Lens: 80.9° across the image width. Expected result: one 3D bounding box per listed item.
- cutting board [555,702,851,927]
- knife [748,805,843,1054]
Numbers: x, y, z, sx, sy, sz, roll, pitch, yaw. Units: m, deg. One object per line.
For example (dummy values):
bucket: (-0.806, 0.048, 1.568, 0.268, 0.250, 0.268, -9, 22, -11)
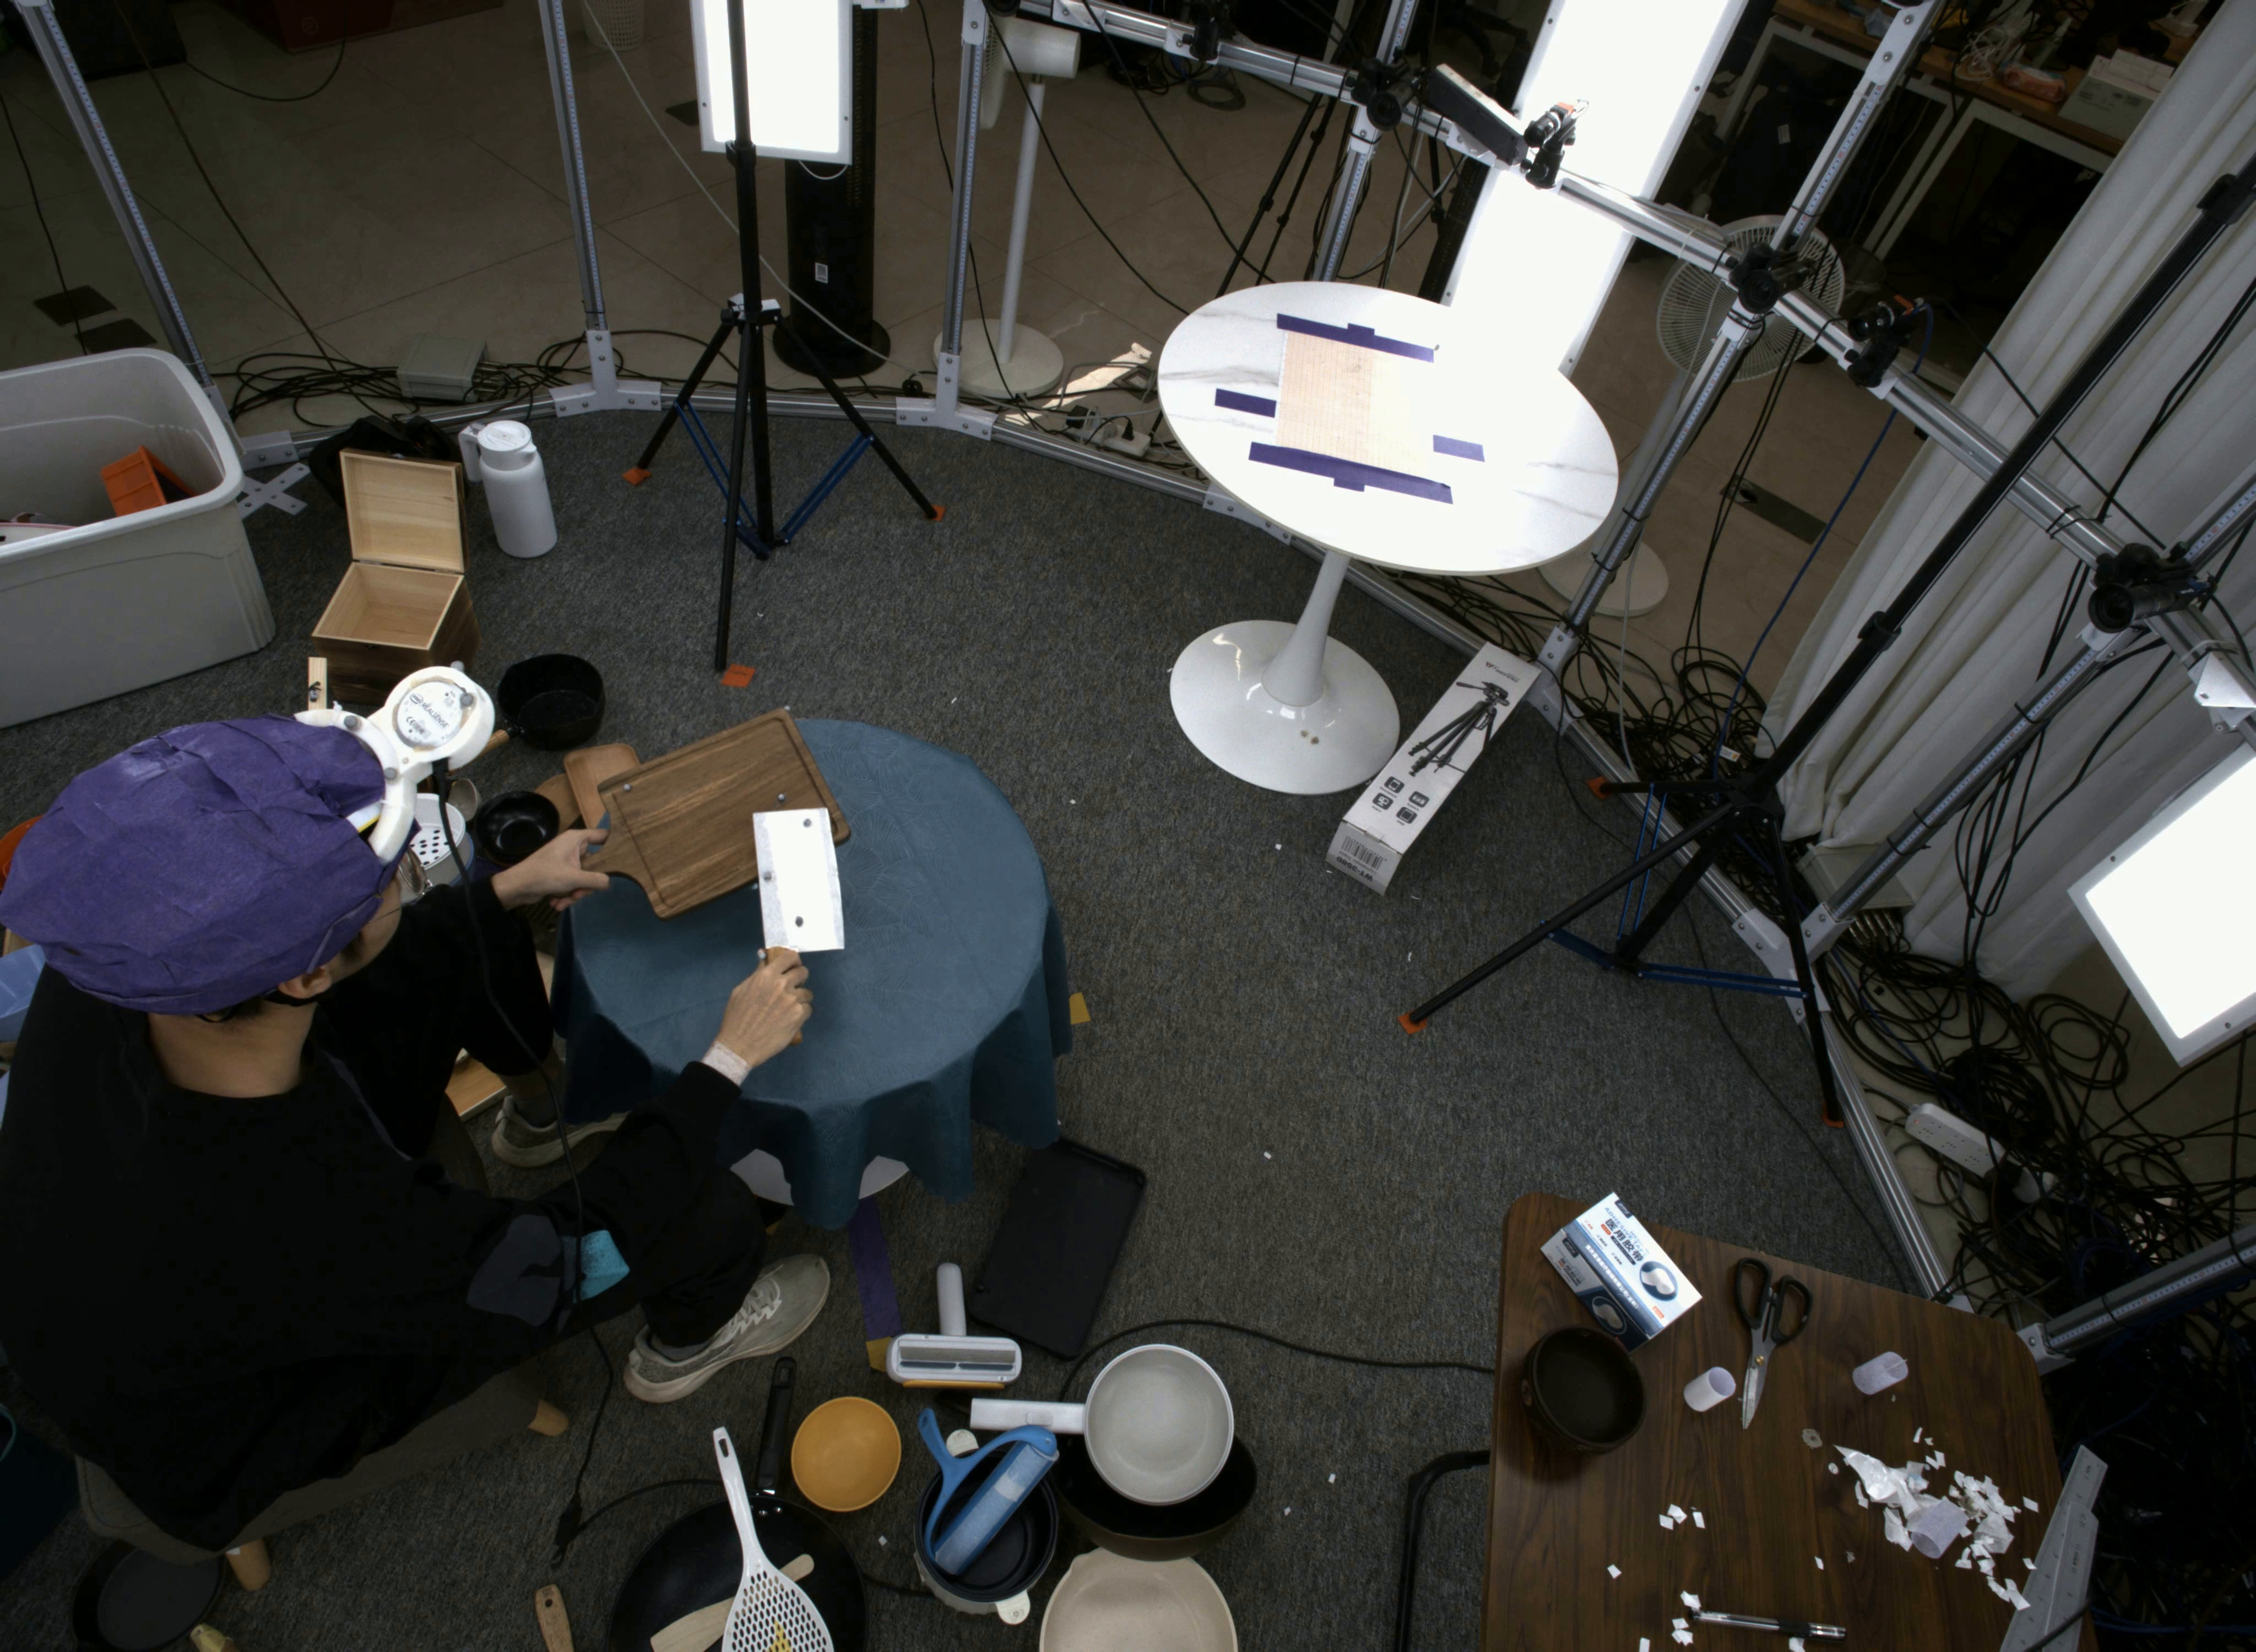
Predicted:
cutting board: (-0.532, 0.001, 1.544, 0.352, 0.023, 0.199, -27, 79, -21)
knife: (-0.377, 0.108, 1.486, 0.093, 0.021, 0.301, -5, 64, -20)
